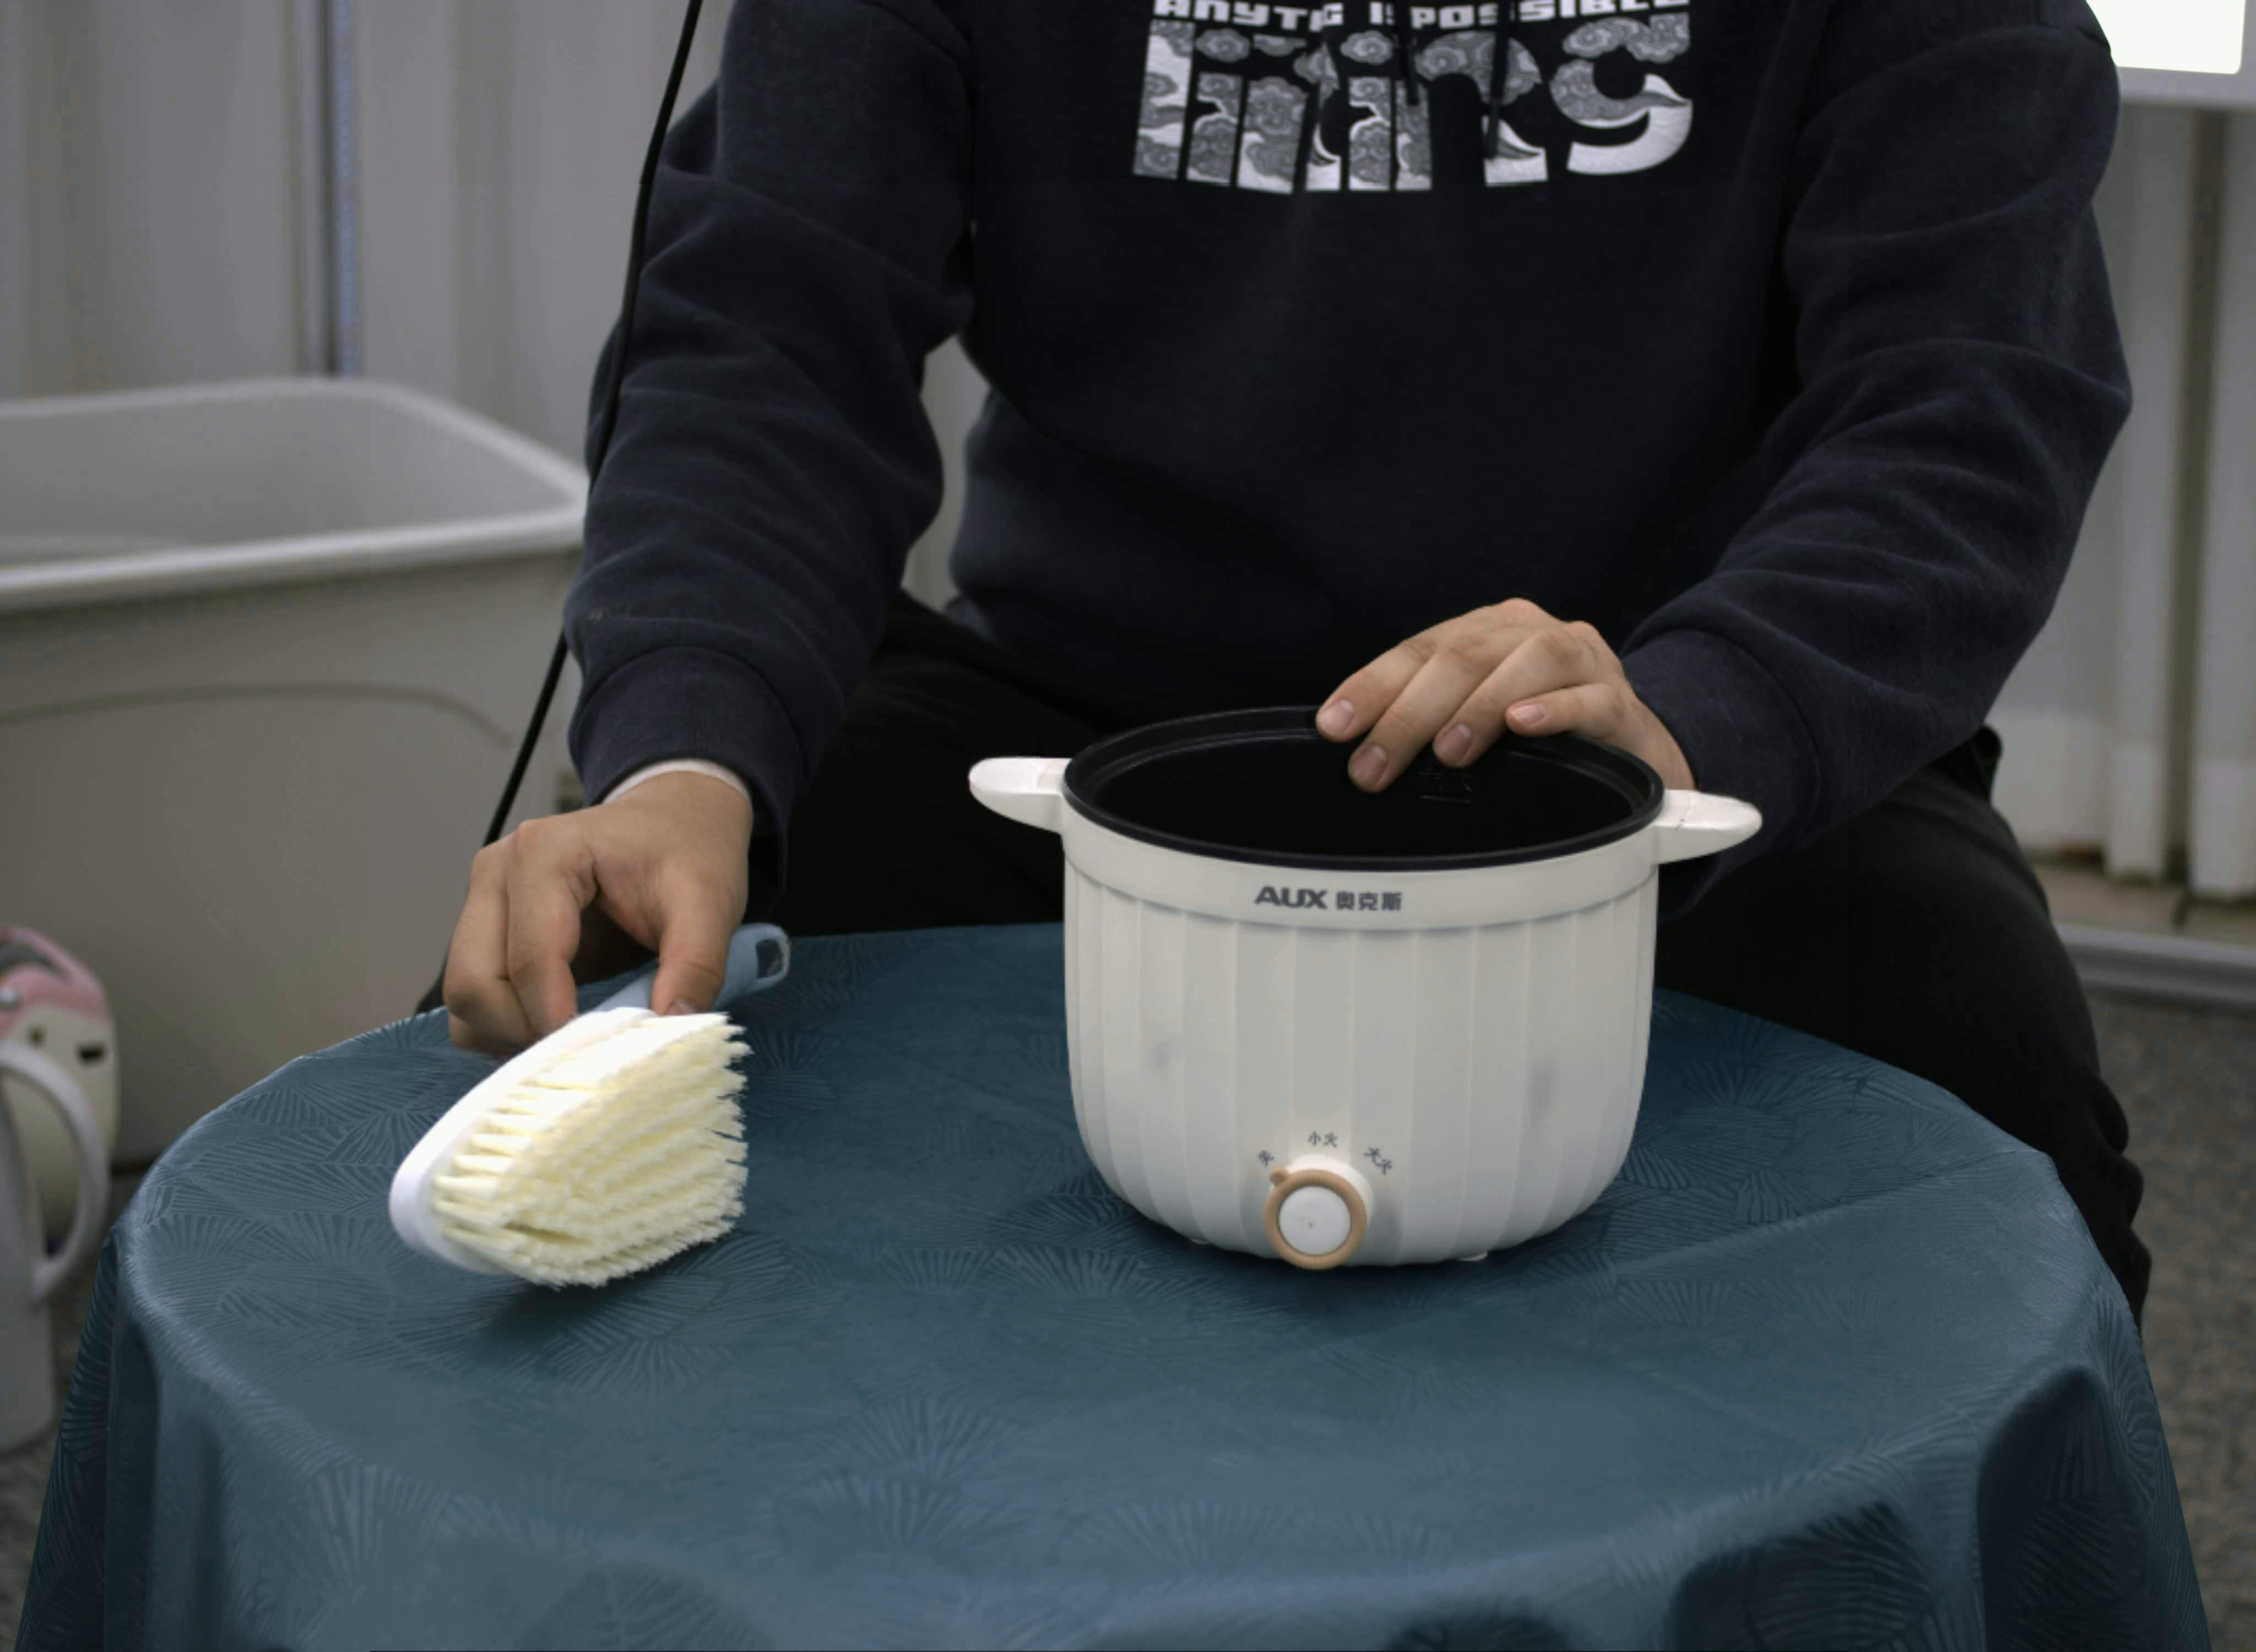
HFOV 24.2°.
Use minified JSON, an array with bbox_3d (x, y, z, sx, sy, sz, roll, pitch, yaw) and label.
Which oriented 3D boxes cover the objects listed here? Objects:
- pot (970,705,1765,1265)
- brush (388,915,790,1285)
[{"bbox_3d":[0.070,0.050,1.593,0.239,0.143,0.190,2,13,8],"label":"pot"},{"bbox_3d":[-0.133,0.071,1.631,0.084,0.083,0.325,40,19,4],"label":"brush"}]
